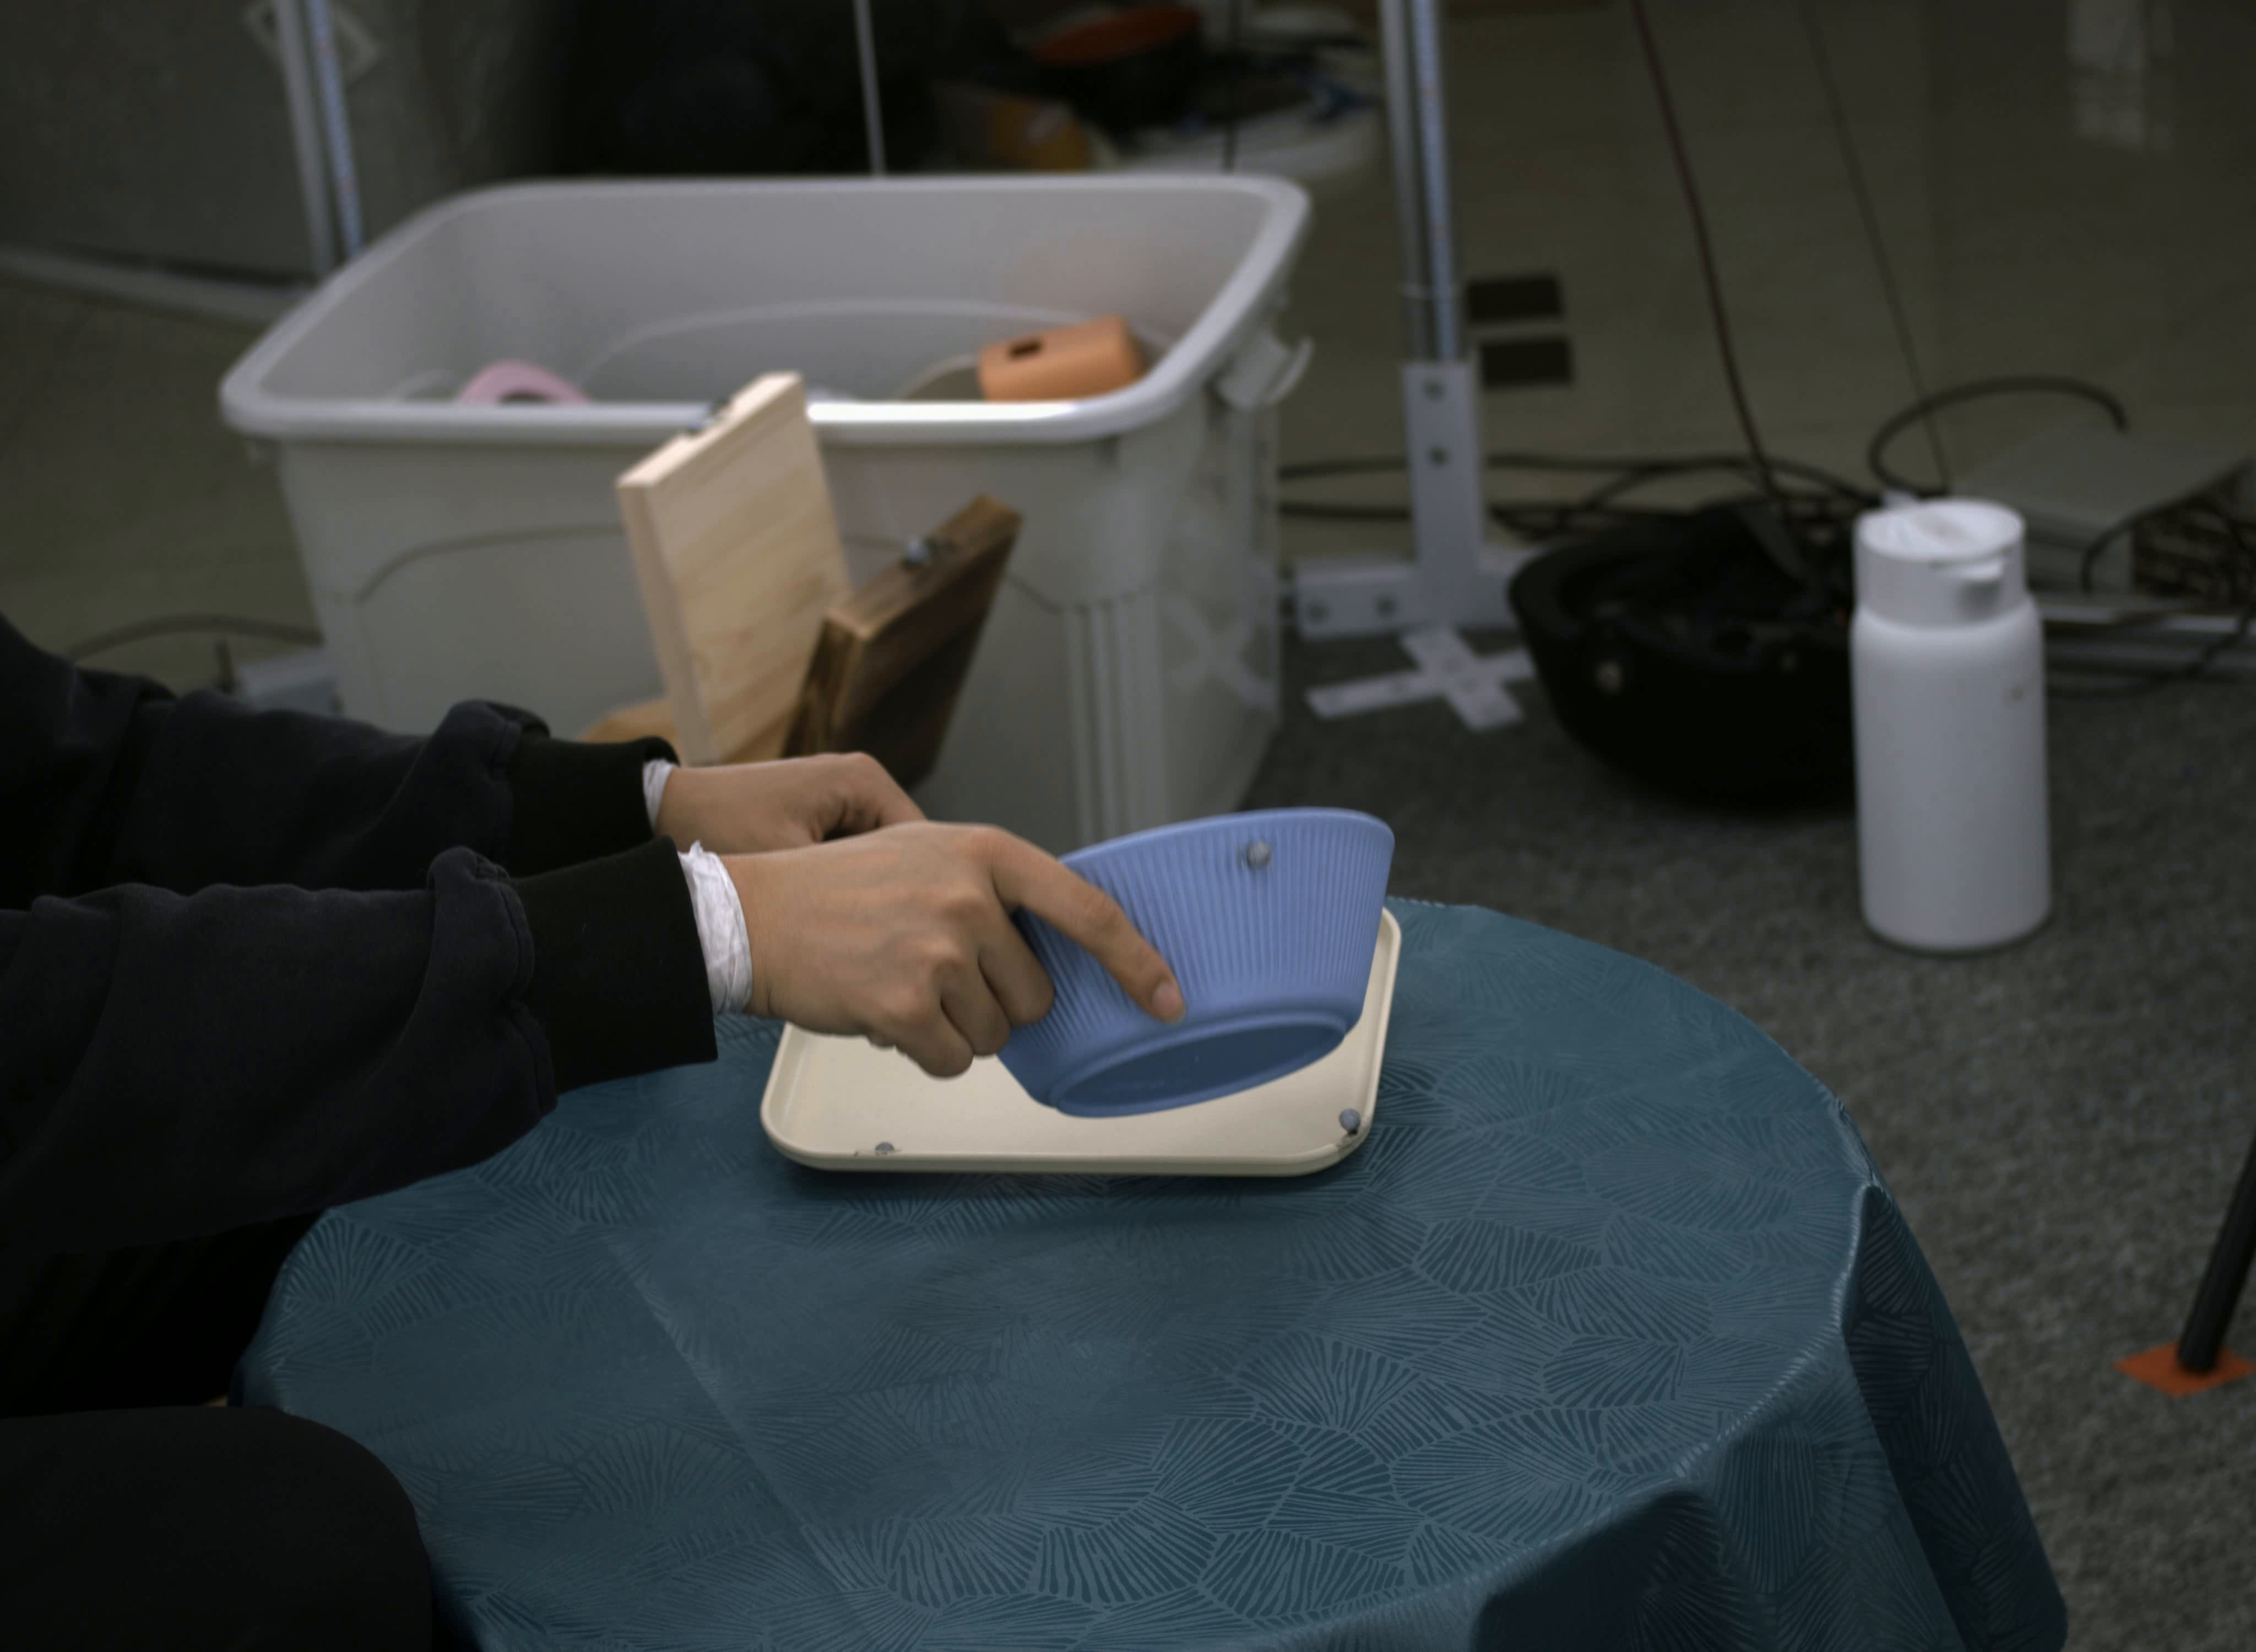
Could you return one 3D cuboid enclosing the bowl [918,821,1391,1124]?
[{"bbox_3d":[0.016,0.058,2.035,0.176,0.070,0.177,-12,-14,-3],"label":"bowl"}]

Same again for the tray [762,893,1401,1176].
[{"bbox_3d":[-0.016,0.082,2.220,0.239,0.018,0.168,0,36,10],"label":"tray"}]
